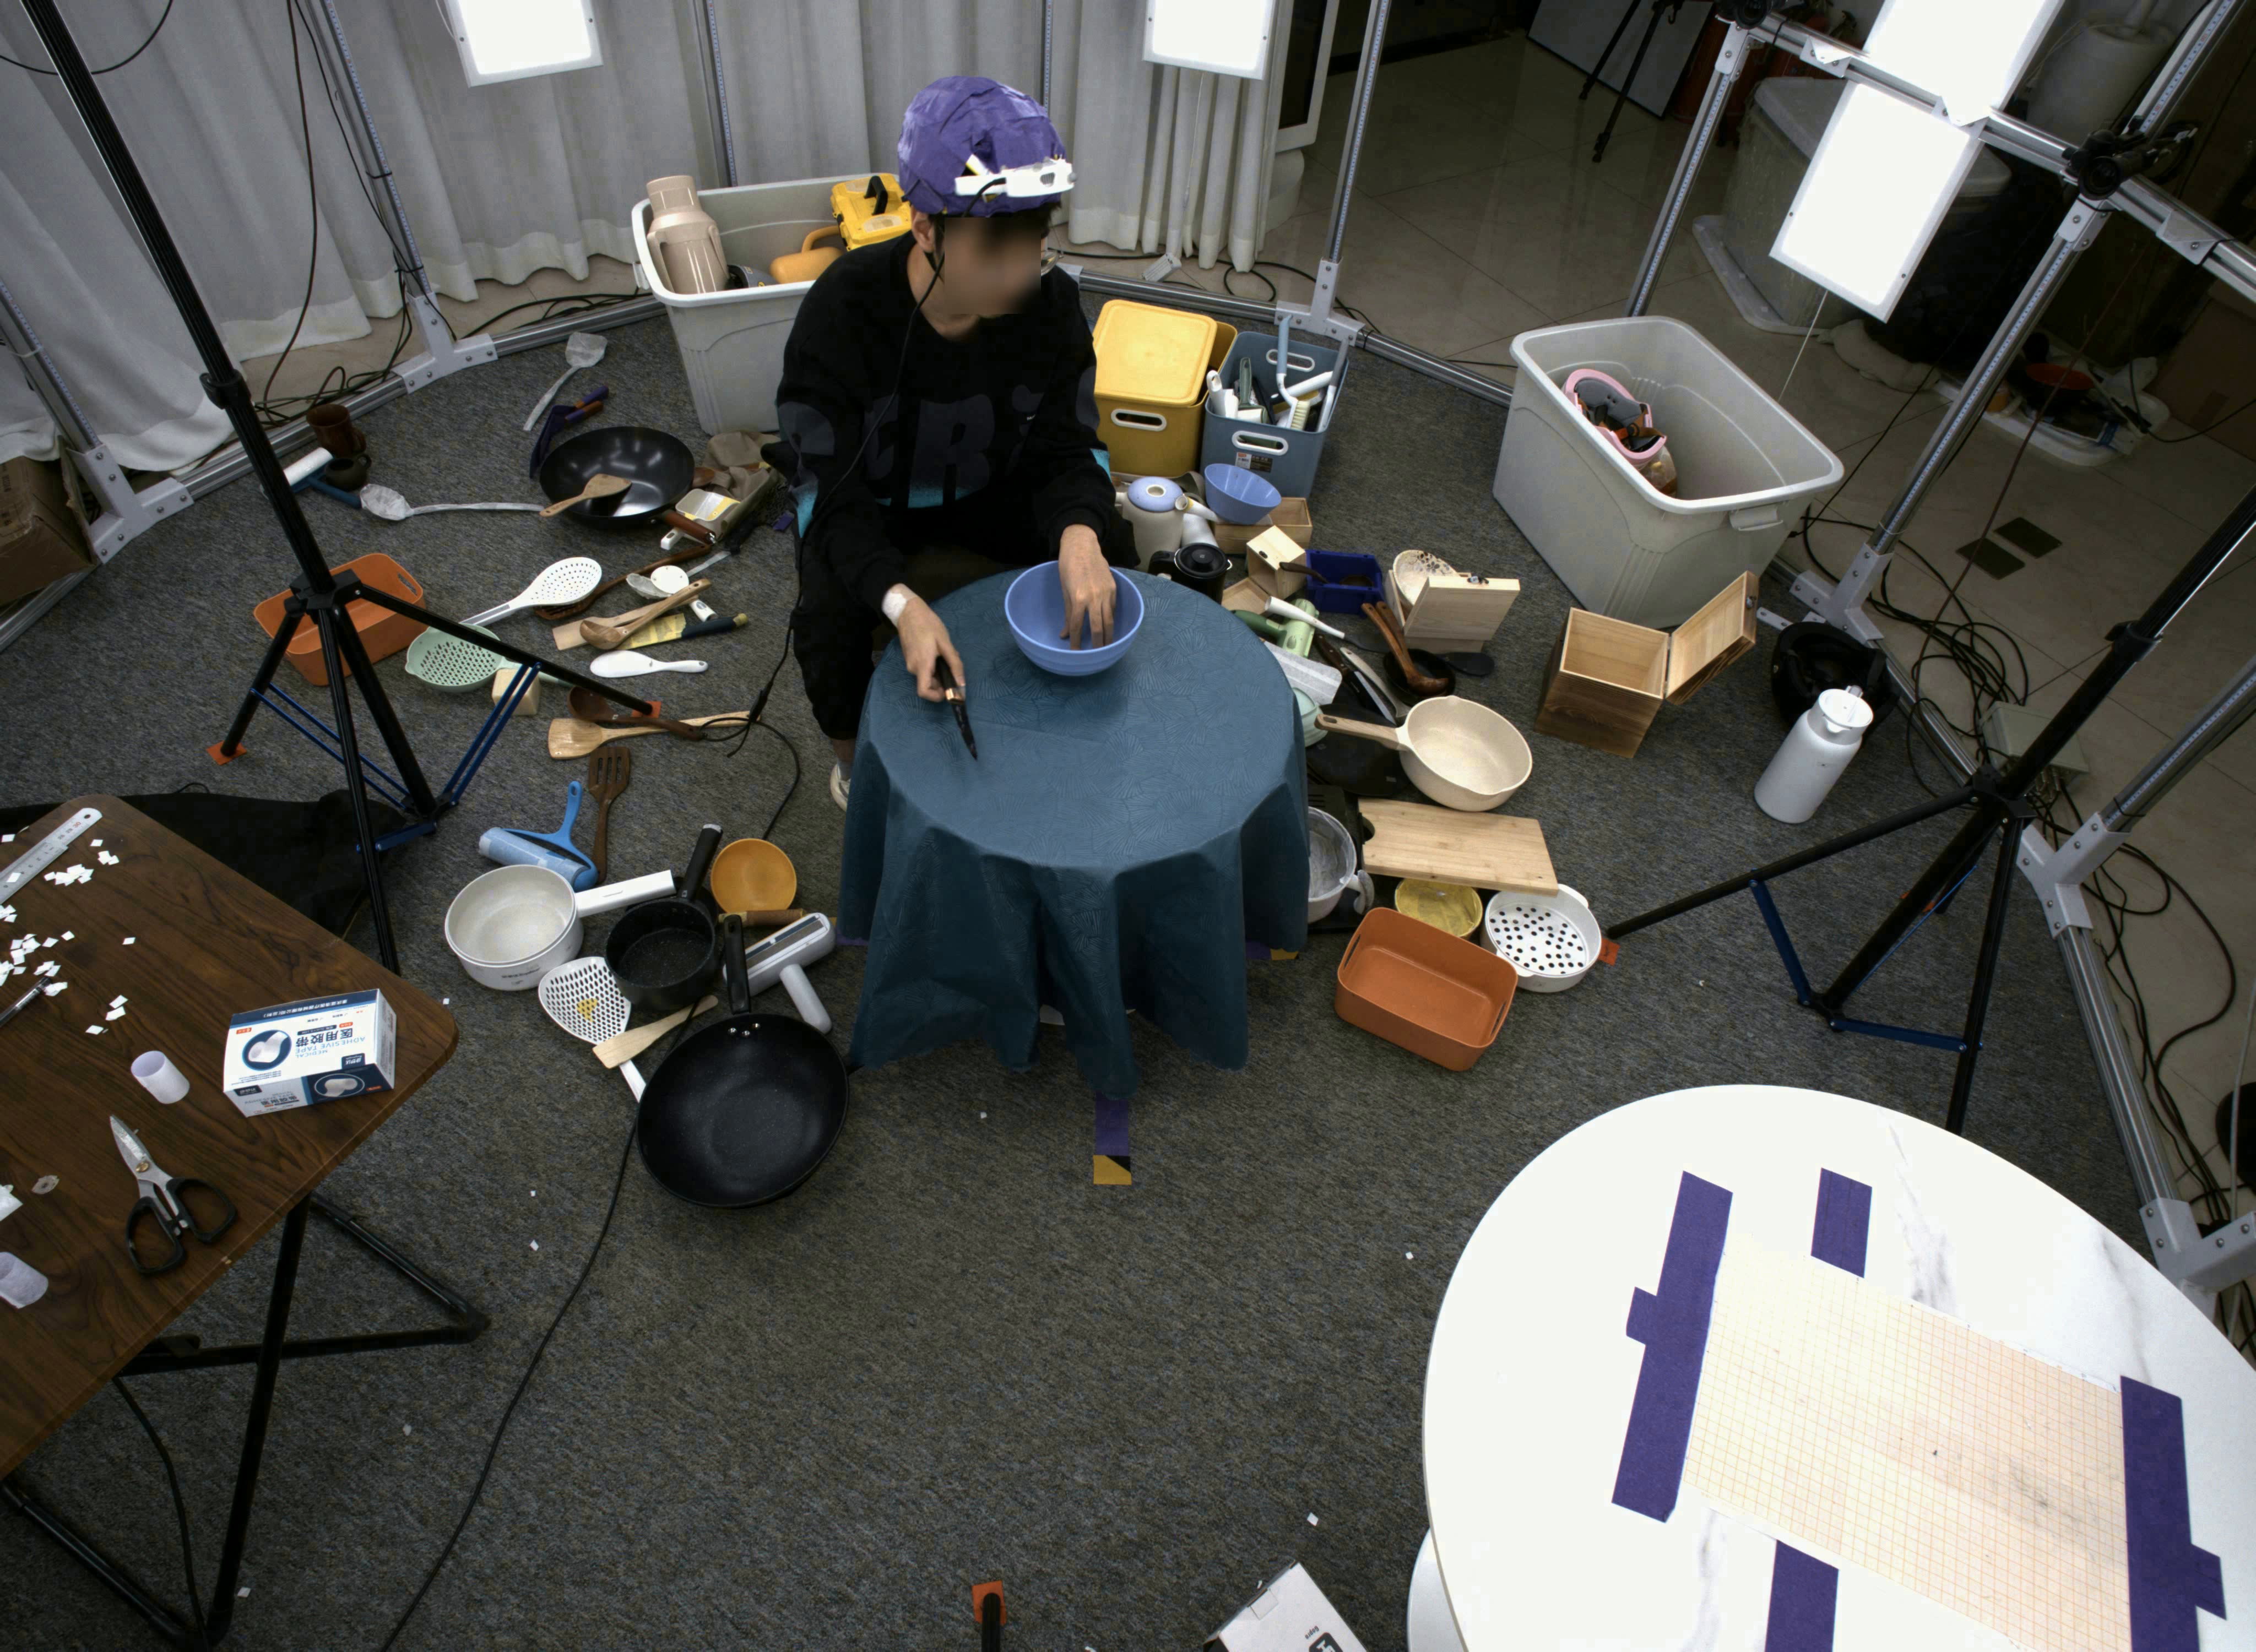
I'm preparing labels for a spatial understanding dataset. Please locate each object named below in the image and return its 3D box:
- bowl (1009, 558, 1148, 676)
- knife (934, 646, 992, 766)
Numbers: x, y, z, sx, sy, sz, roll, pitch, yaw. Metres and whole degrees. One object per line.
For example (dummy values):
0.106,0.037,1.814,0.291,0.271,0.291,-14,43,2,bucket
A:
-0.074,-0.285,1.846,0.196,0.093,0.201,3,51,-4,bowl
-0.226,-0.166,1.751,0.026,0.017,0.231,7,44,-37,knife
